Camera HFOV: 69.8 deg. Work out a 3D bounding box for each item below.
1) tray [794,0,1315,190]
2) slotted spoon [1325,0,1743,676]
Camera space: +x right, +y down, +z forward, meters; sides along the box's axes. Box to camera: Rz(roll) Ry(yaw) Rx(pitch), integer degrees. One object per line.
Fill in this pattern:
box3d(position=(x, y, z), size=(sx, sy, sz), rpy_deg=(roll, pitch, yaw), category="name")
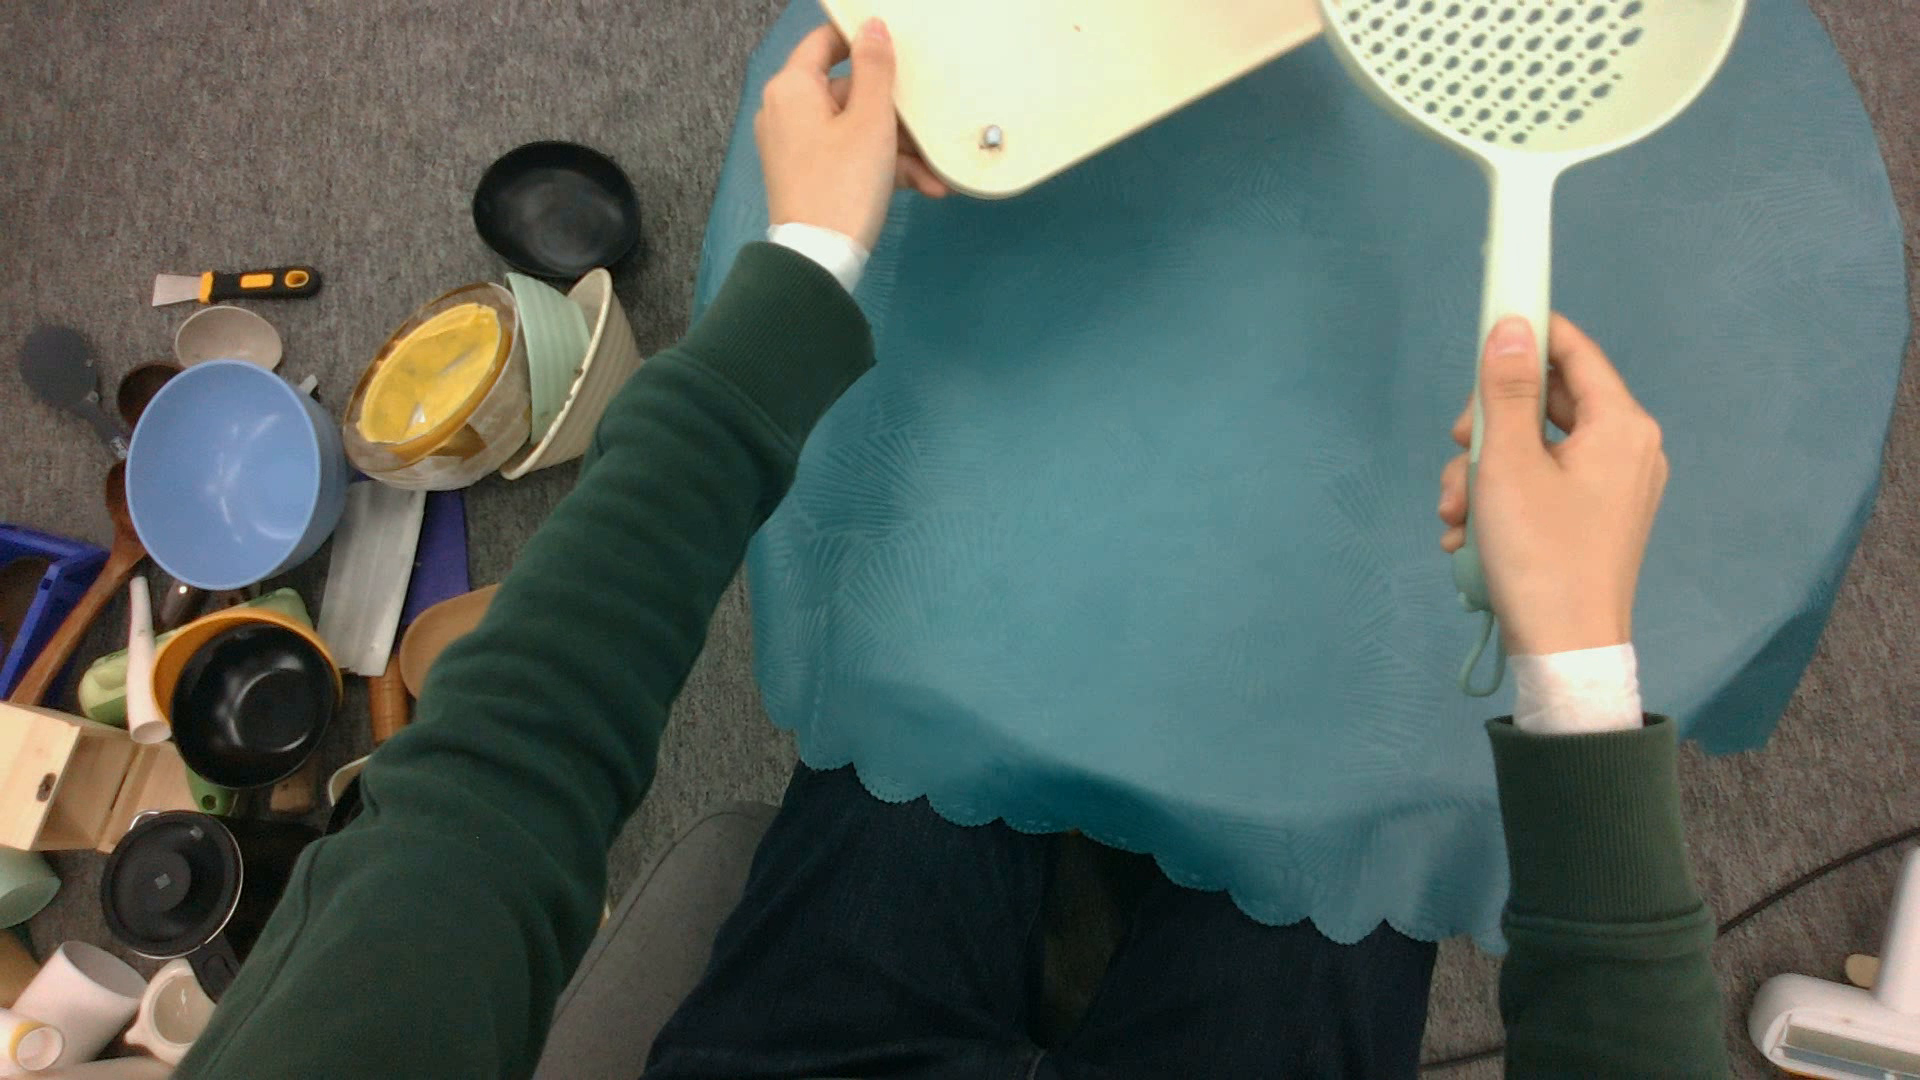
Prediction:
box3d(position=(0.042, -0.269, 0.632), size=(0.240, 0.017, 0.171), rpy_deg=(-33, 83, -17), category="tray")
box3d(position=(0.207, -0.131, 0.522), size=(0.169, 0.075, 0.359), rpy_deg=(6, 77, -4), category="slotted spoon")
